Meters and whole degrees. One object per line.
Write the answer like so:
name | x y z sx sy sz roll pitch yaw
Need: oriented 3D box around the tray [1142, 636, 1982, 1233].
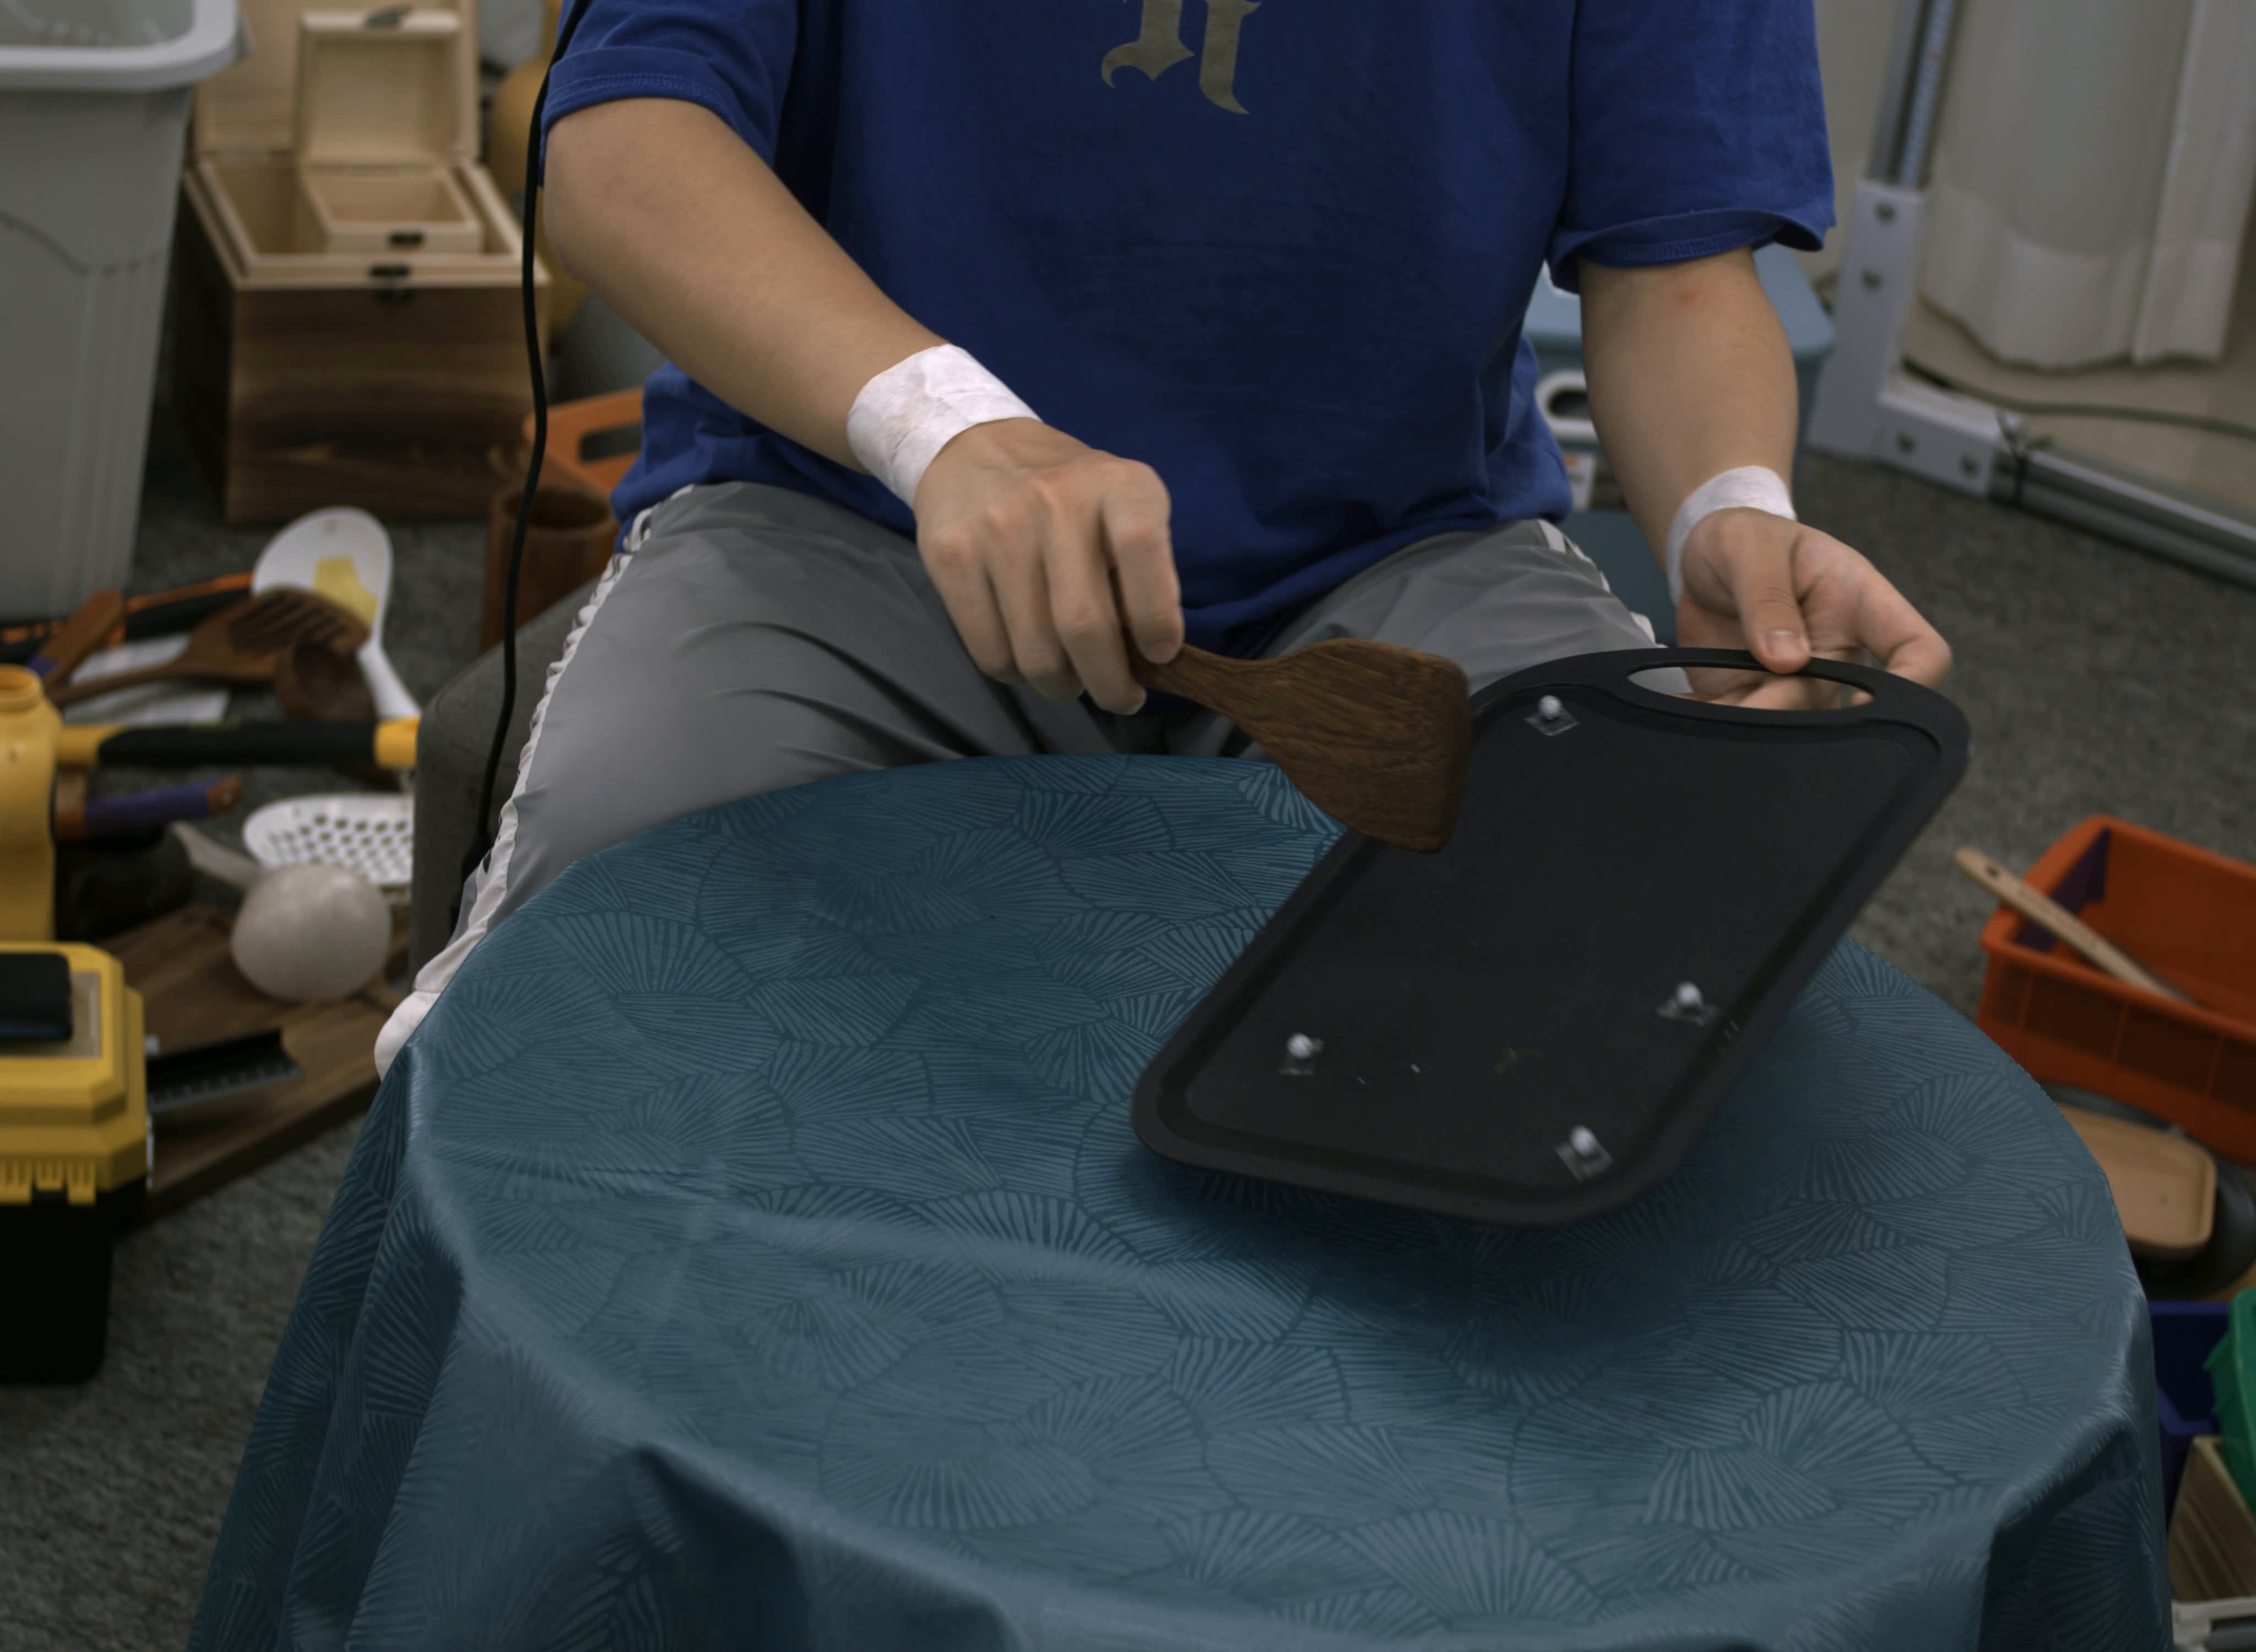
tray | 0.156 0.026 1.848 0.212 0.010 0.325 9 41 35

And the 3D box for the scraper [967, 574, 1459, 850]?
scraper | 0.026 -0.051 1.854 0.212 0.075 0.011 19 30 34
